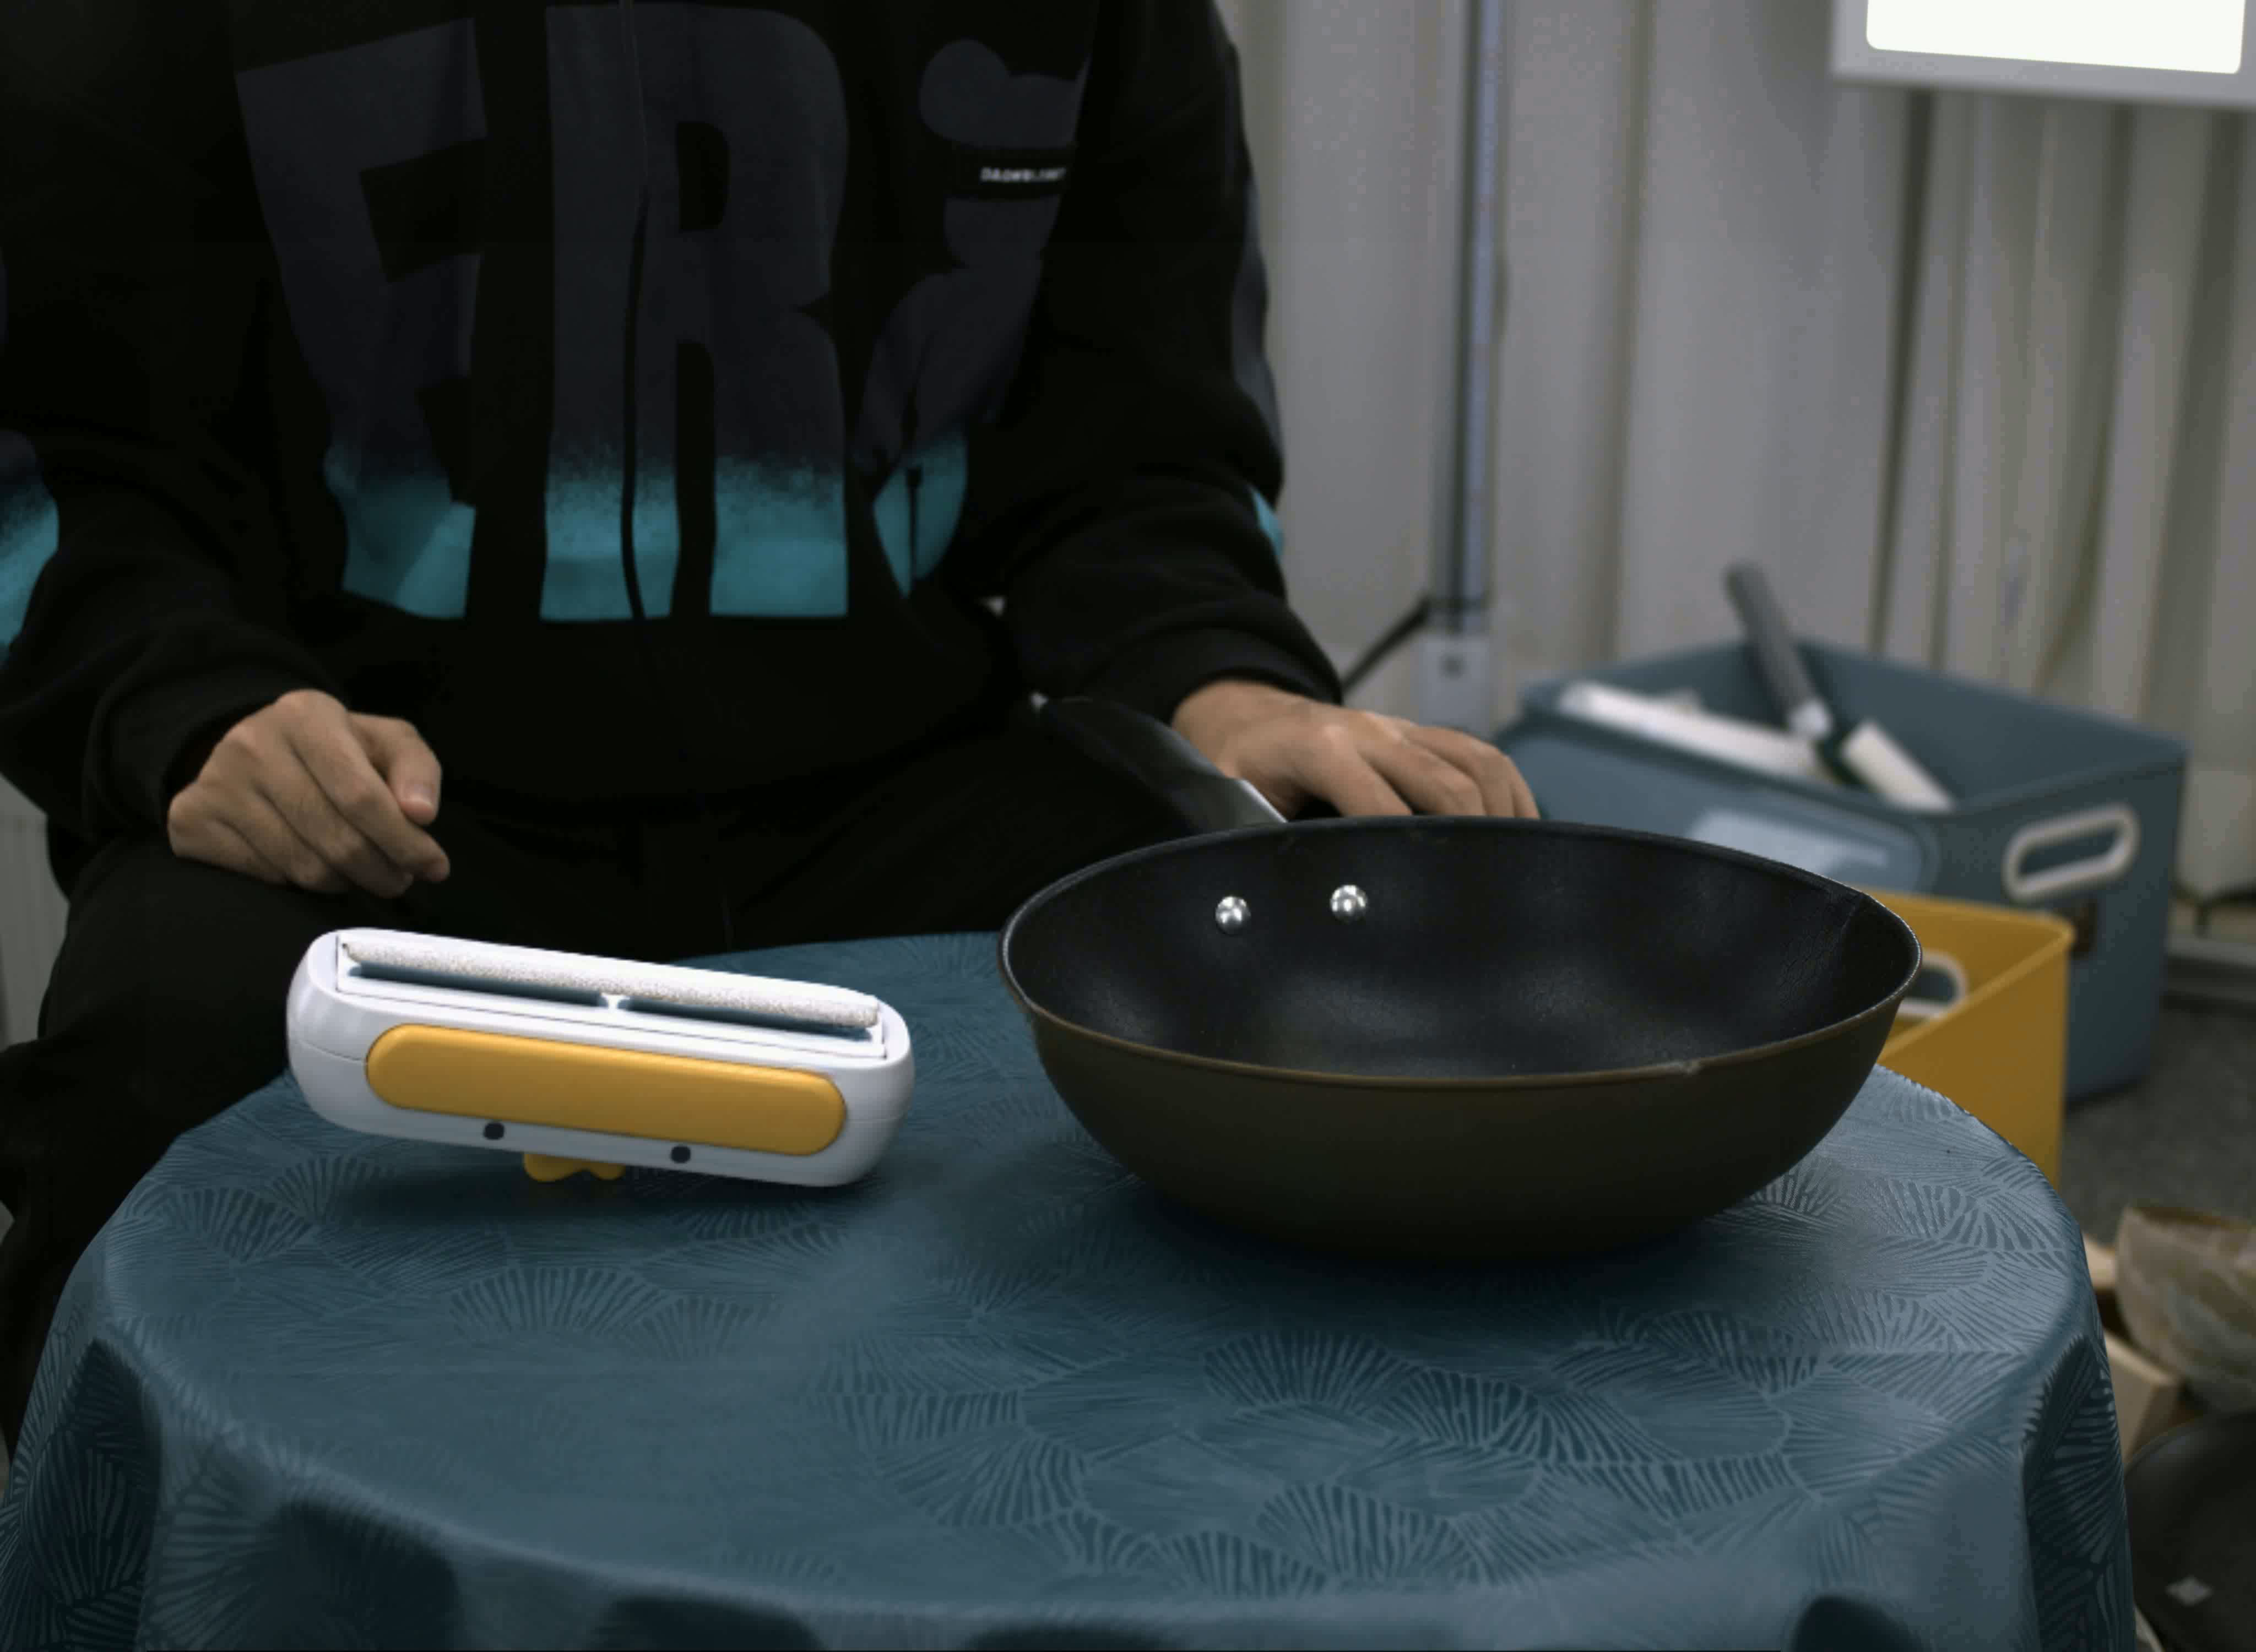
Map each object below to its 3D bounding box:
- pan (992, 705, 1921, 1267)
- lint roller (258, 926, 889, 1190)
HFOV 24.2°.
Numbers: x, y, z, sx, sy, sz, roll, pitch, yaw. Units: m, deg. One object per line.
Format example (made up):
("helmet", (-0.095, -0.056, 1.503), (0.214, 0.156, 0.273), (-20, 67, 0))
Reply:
("pan", (0.065, 0.049, 1.692), (0.289, 0.087, 0.458), (-6, 17, -22))
("lint roller", (-0.175, 0.063, 1.665), (0.193, 0.075, 0.191), (4, 13, -7))
